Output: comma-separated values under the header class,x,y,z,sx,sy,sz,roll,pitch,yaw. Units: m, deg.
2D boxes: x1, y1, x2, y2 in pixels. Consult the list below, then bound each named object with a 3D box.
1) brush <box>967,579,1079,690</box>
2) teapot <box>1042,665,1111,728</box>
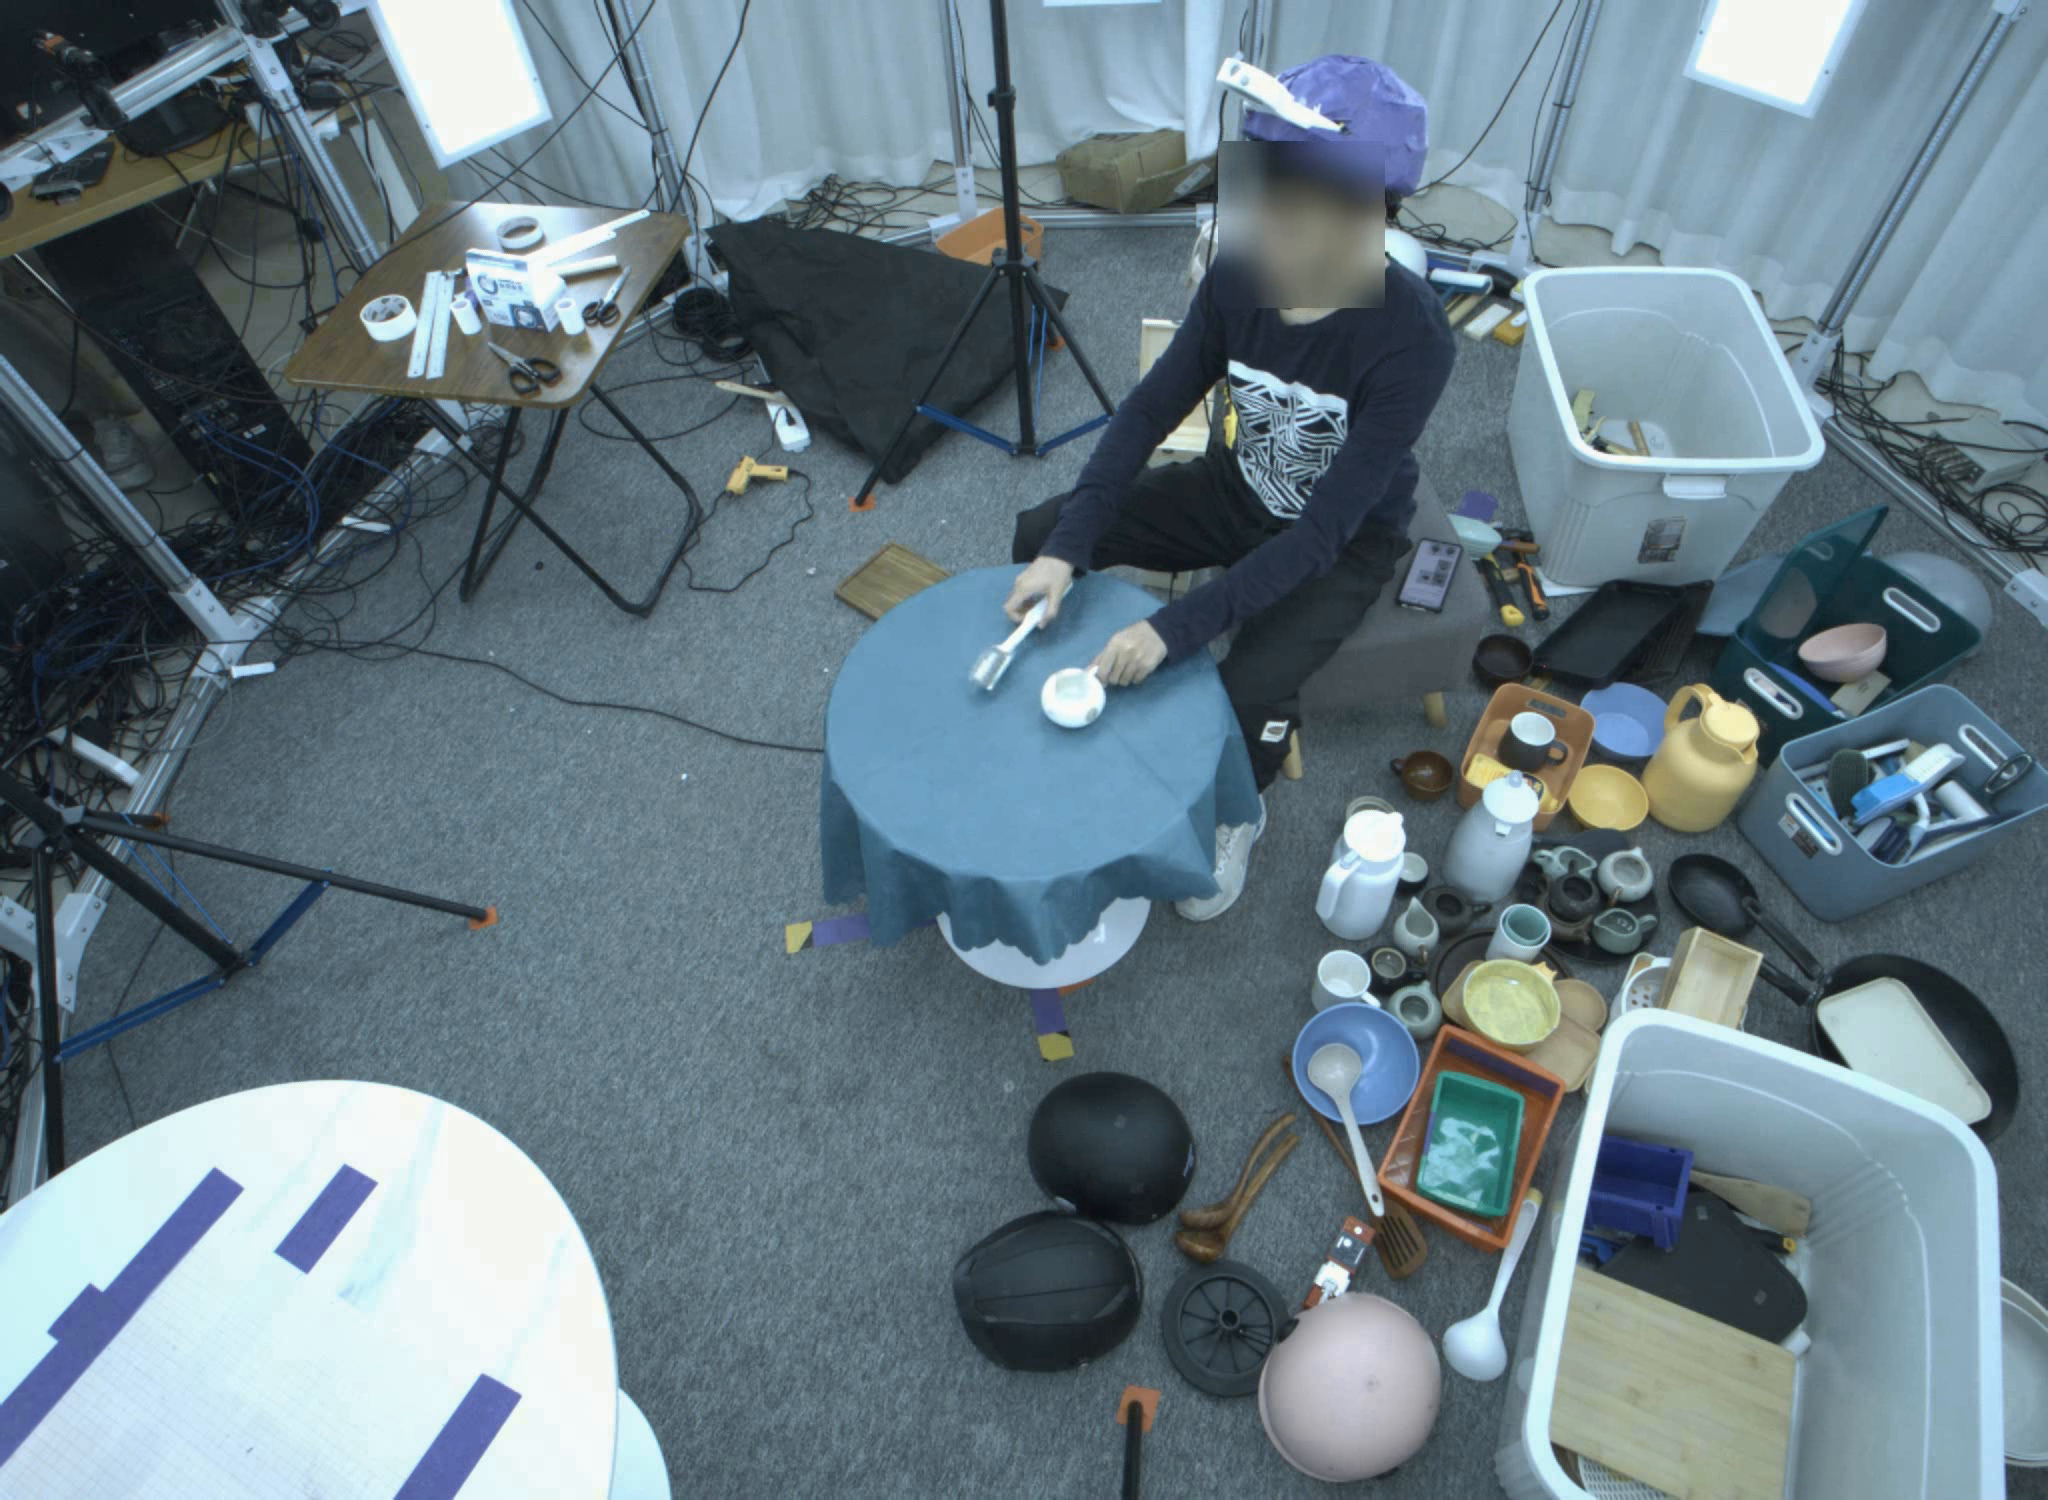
class,x,y,z,sx,sy,sz,roll,pitch,yaw
brush,0.001,-0.185,1.860,0.034,0.051,0.244,34,72,23
teapot,0.080,-0.081,1.802,0.091,0.057,0.128,33,60,28
